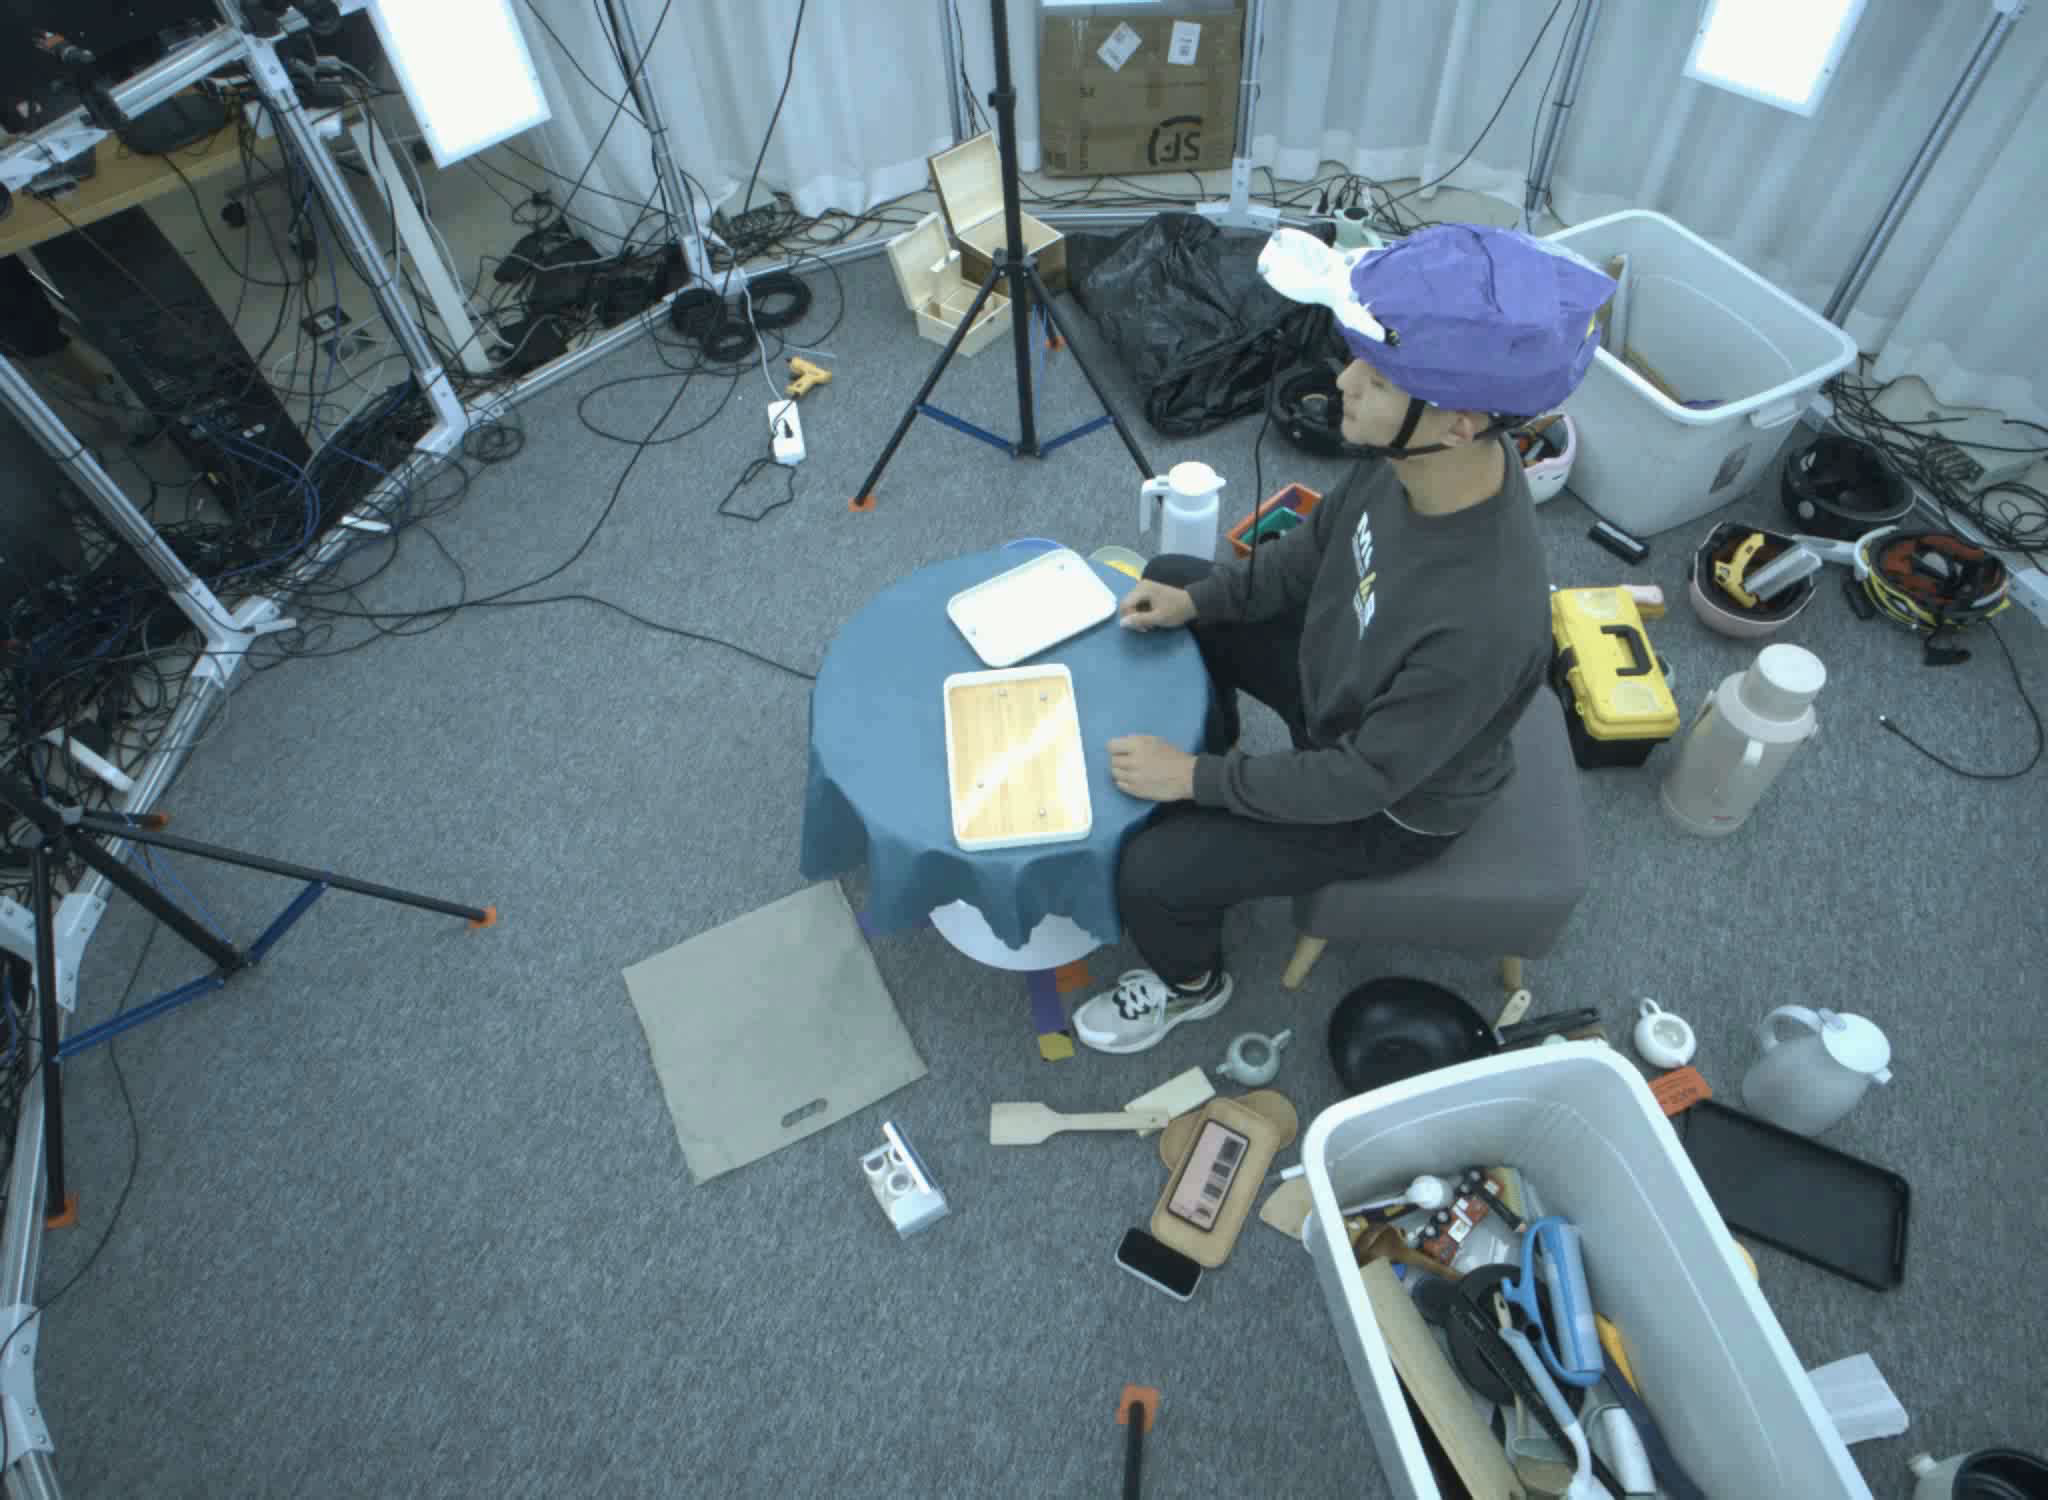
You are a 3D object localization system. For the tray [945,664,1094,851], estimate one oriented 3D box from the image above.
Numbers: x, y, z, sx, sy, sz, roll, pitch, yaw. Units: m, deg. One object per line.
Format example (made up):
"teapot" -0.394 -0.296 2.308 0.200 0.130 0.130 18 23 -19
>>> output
"tray" -0.010 0.005 1.766 0.192 0.028 0.296 -5 55 -3

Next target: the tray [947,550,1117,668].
"tray" 0.013 -0.223 1.933 0.241 0.017 0.168 -27 58 -17
